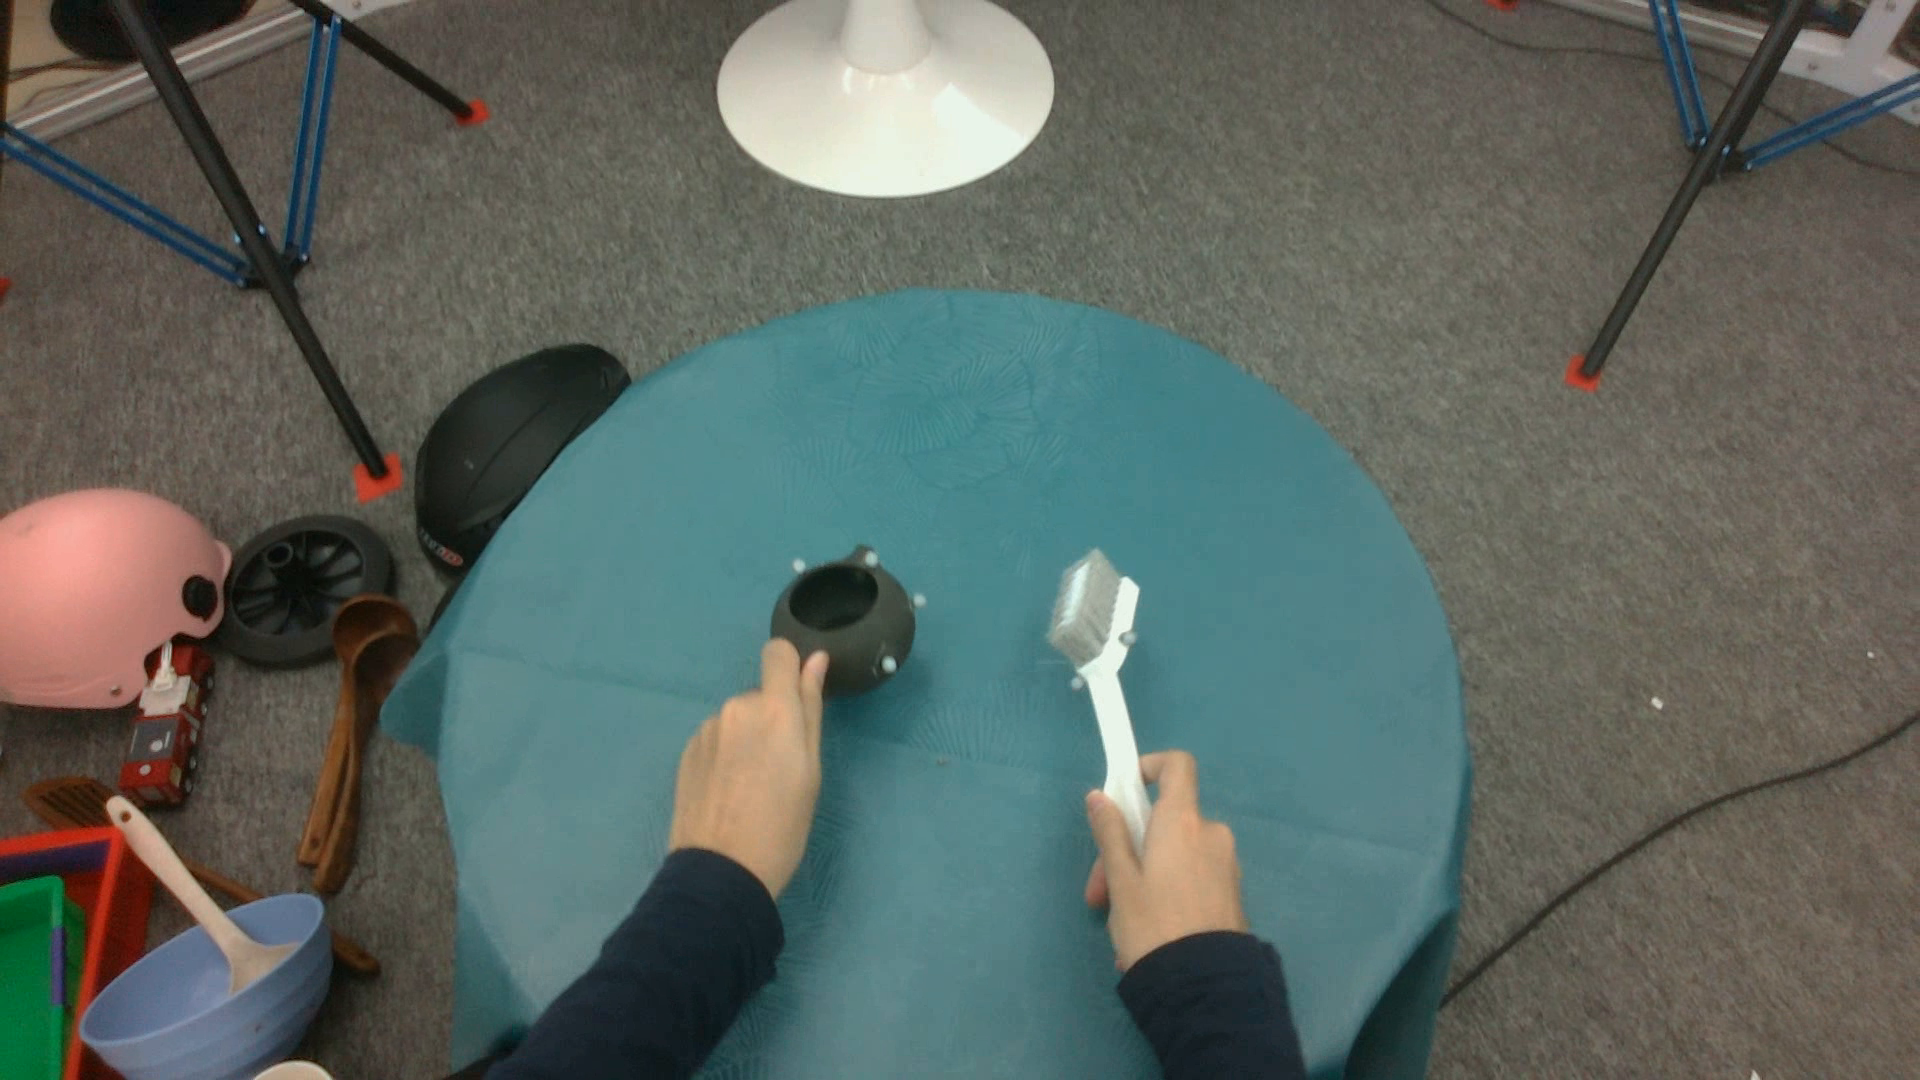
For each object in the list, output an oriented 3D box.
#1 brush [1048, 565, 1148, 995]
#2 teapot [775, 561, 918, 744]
[{"bbox_3d":[0.074,0.119,0.742,0.034,0.050,0.245,-30,43,35],"label":"brush"},{"bbox_3d":[-0.070,0.066,0.783,0.083,0.053,0.114,11,48,19],"label":"teapot"}]
